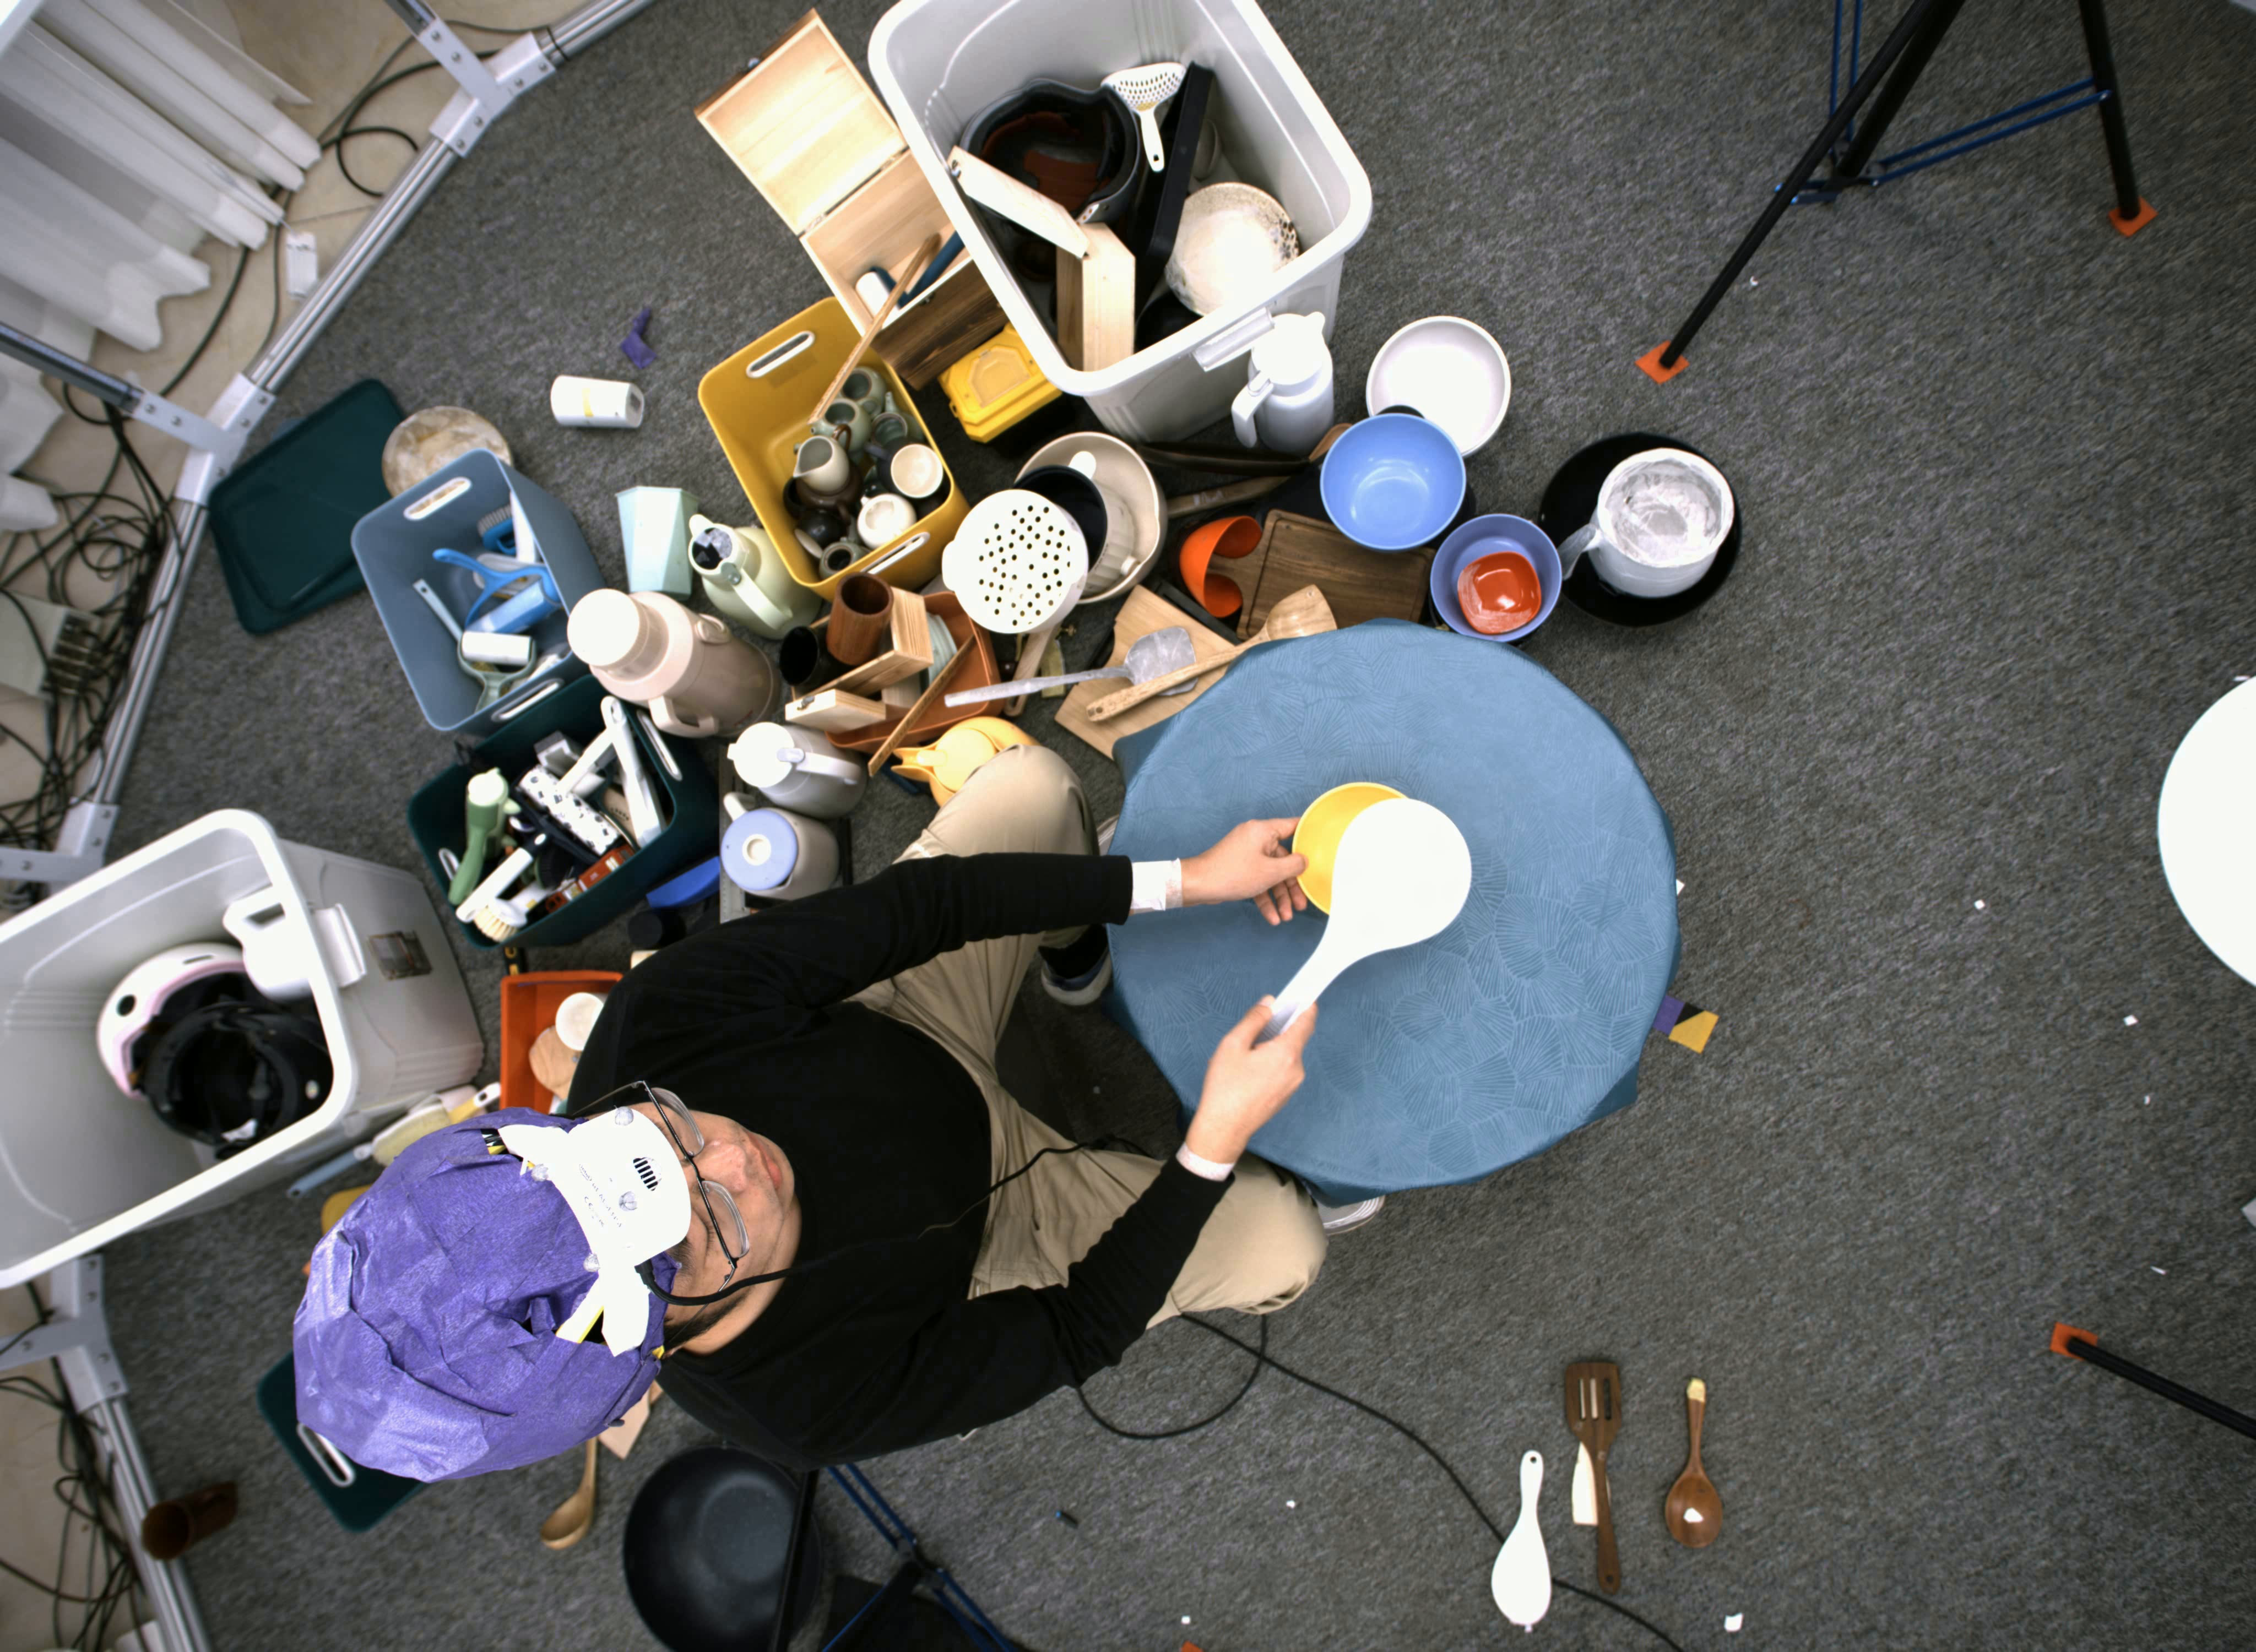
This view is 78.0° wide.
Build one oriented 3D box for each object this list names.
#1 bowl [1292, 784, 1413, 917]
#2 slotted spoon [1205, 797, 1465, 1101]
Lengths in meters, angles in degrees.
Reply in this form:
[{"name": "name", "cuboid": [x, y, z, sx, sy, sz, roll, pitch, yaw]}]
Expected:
[{"name": "bowl", "cuboid": [0.244, 0.031, 1.439, 0.146, 0.060, 0.144, -1, 84, 11]}, {"name": "slotted spoon", "cuboid": [0.193, 0.120, 1.331, 0.136, 0.046, 0.346, 41, 80, -10]}]
